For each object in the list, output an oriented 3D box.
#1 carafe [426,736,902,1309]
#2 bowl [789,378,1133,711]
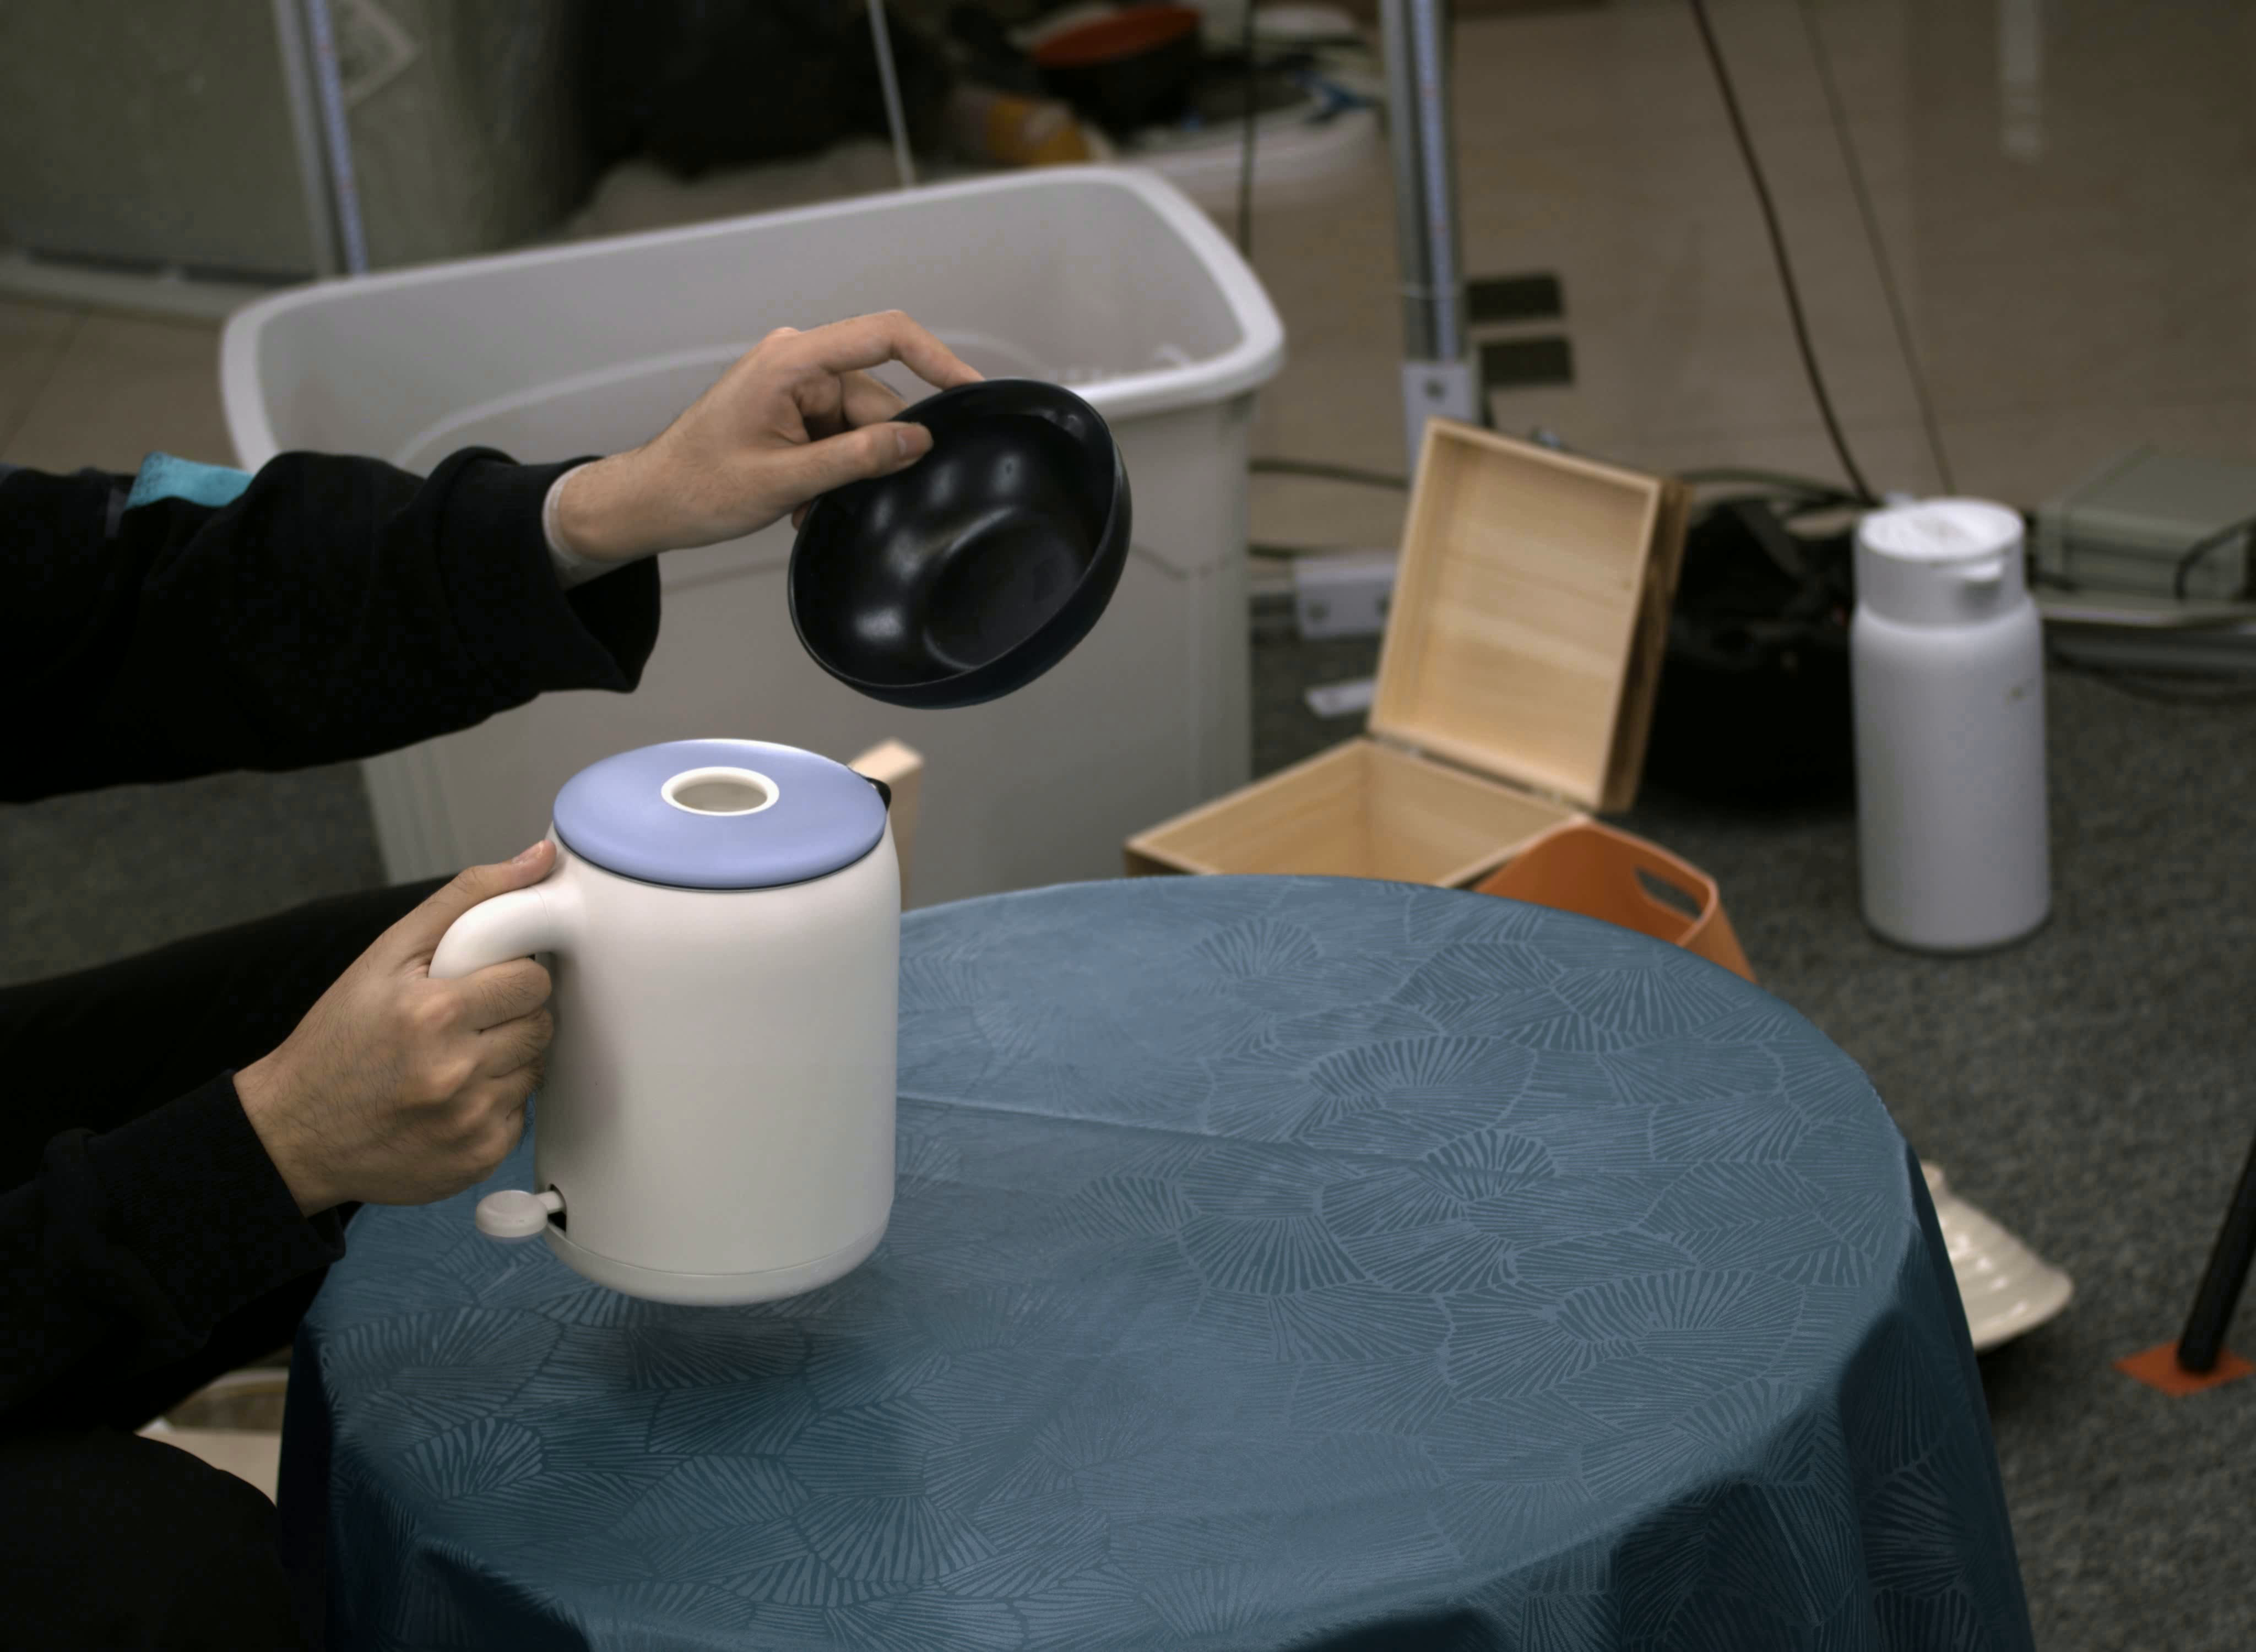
[{"bbox_3d":[-0.167,0.075,2.021,0.190,0.185,0.131,-17,30,-30],"label":"carafe"},{"bbox_3d":[-0.054,-0.096,2.086,0.140,0.050,0.137,-17,52,23],"label":"bowl"}]
